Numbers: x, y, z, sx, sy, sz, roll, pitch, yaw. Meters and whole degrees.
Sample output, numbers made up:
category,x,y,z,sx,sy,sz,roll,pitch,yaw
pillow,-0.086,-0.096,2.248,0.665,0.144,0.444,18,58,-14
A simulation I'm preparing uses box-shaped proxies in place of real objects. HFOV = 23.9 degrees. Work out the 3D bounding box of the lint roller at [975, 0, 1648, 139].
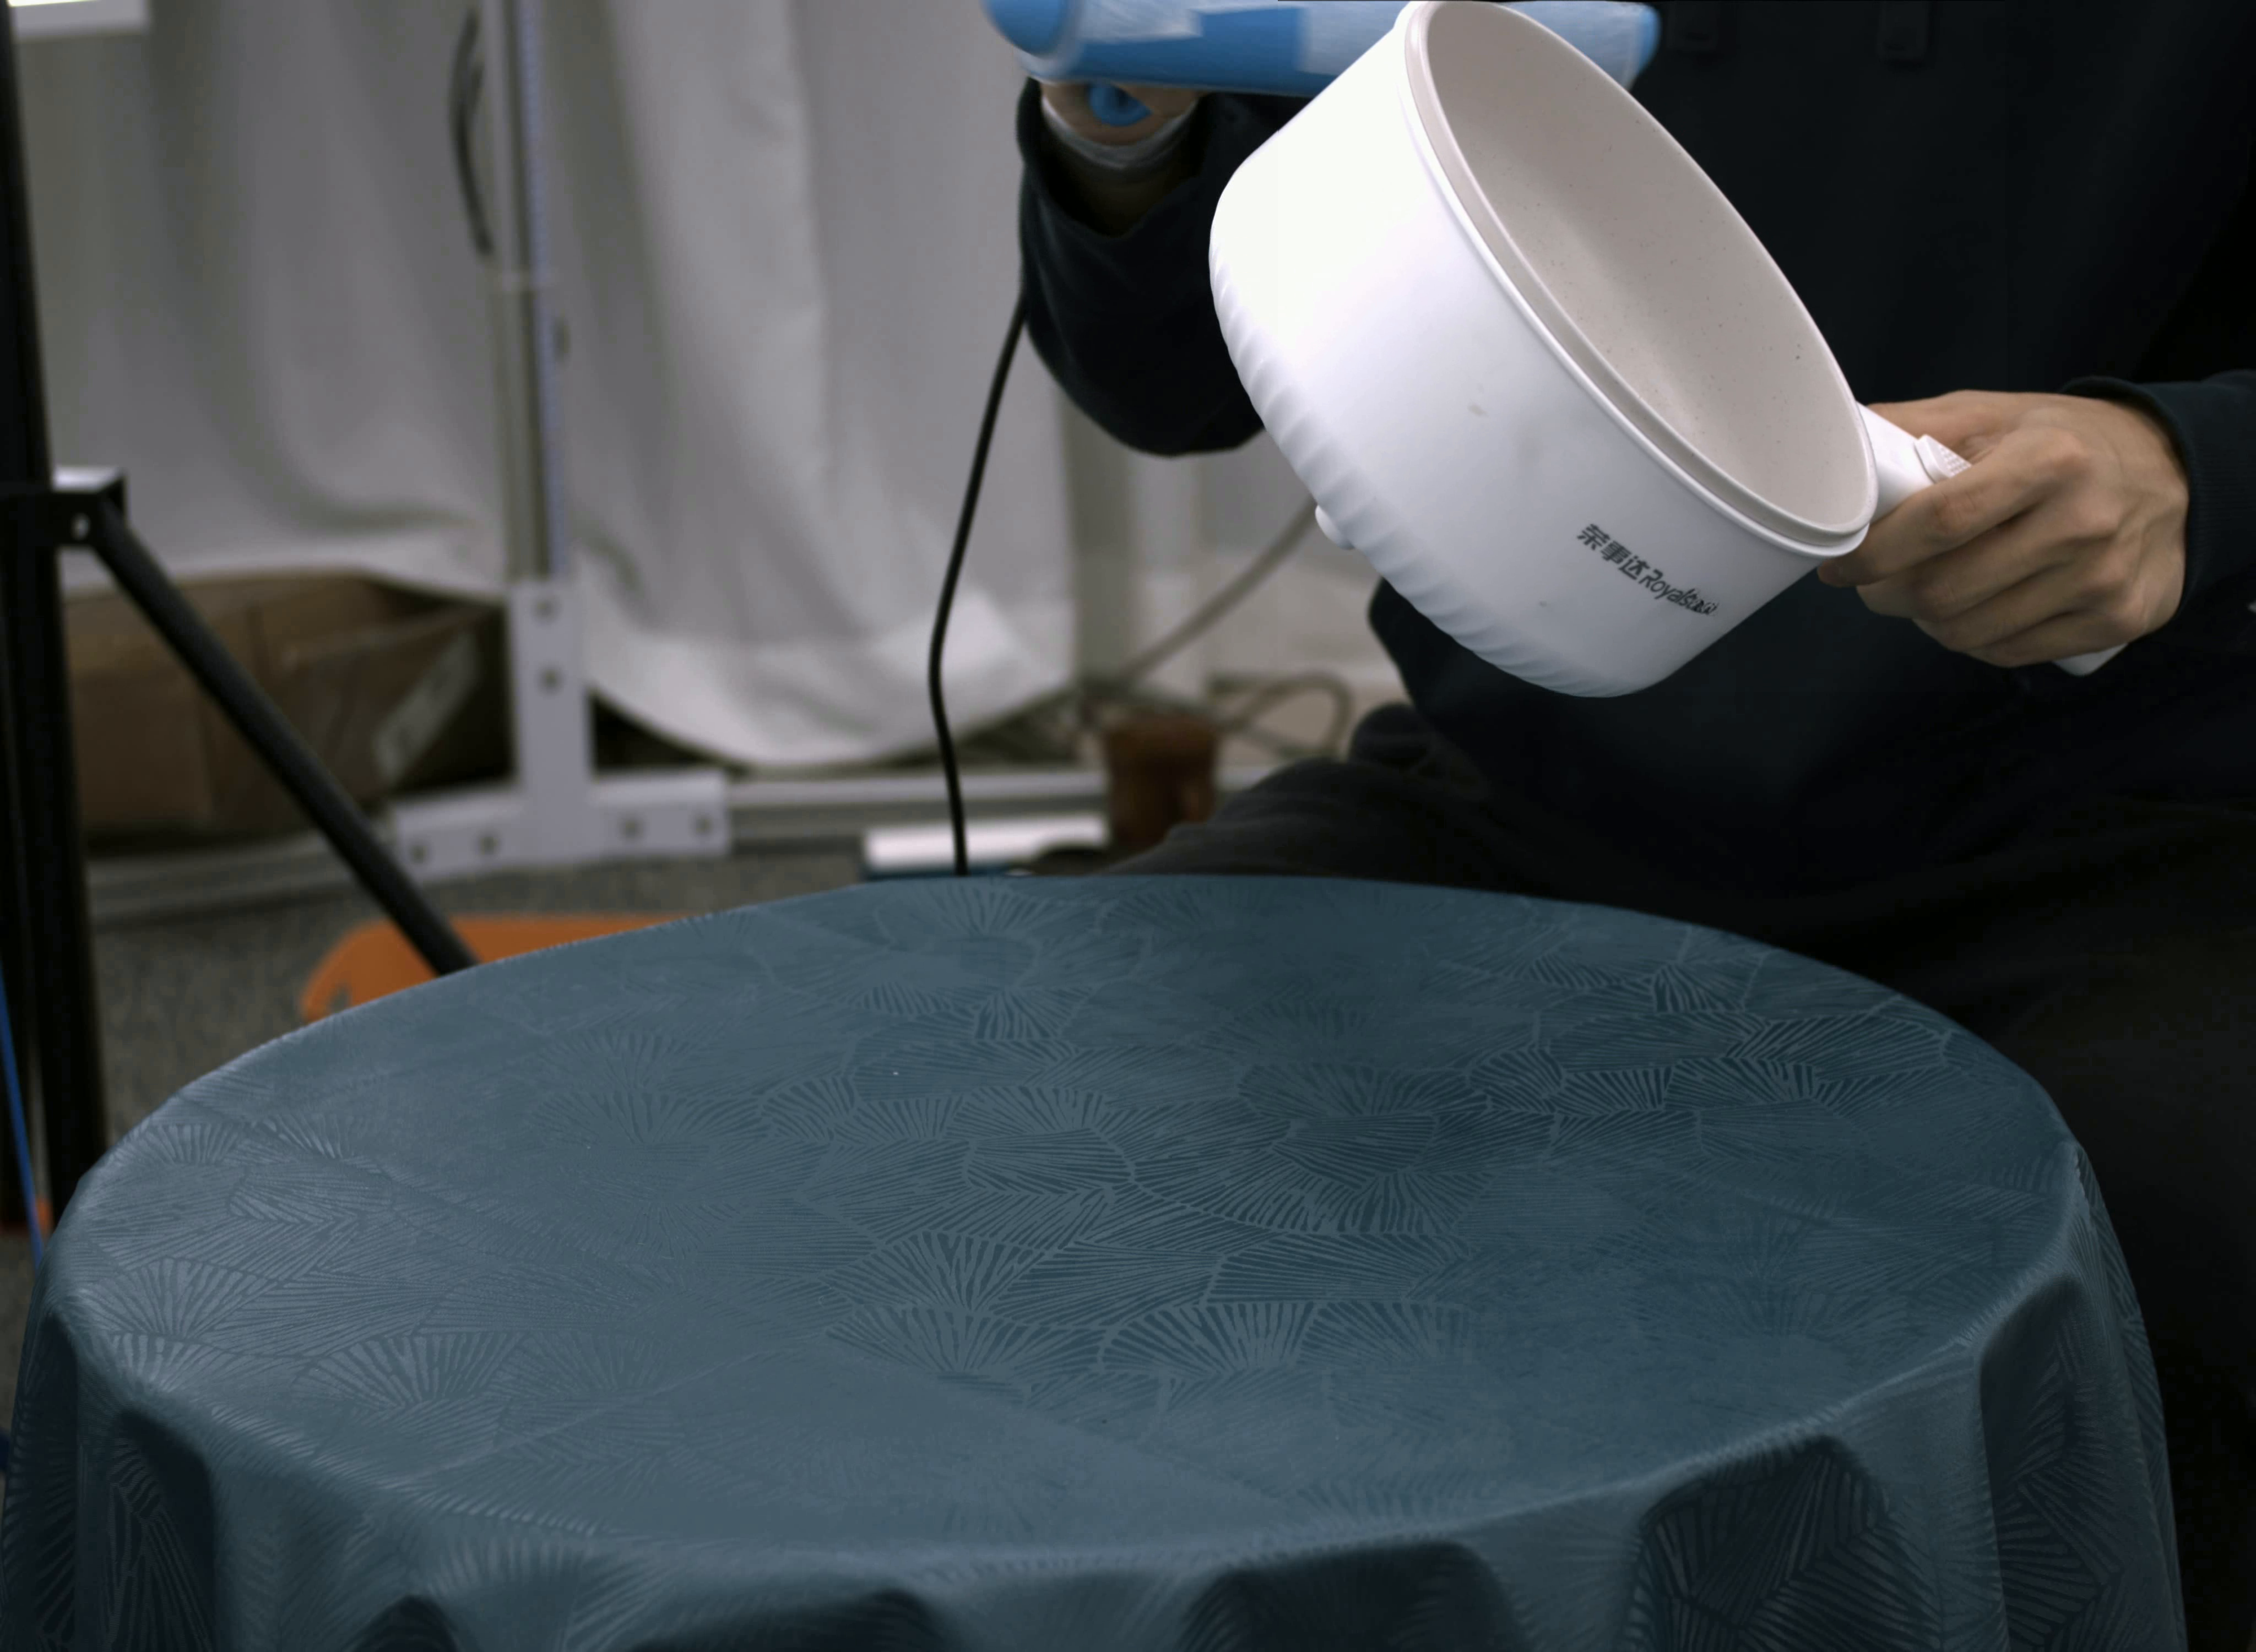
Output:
category,x,y,z,sx,sy,sz,roll,pitch,yaw
lint roller,0.031,-0.256,1.688,0.224,0.068,0.183,0,3,-26

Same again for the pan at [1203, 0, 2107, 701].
category,x,y,z,sx,sy,sz,roll,pitch,yaw
pan,0.160,-0.104,1.578,0.345,0.103,0.205,29,31,-42
